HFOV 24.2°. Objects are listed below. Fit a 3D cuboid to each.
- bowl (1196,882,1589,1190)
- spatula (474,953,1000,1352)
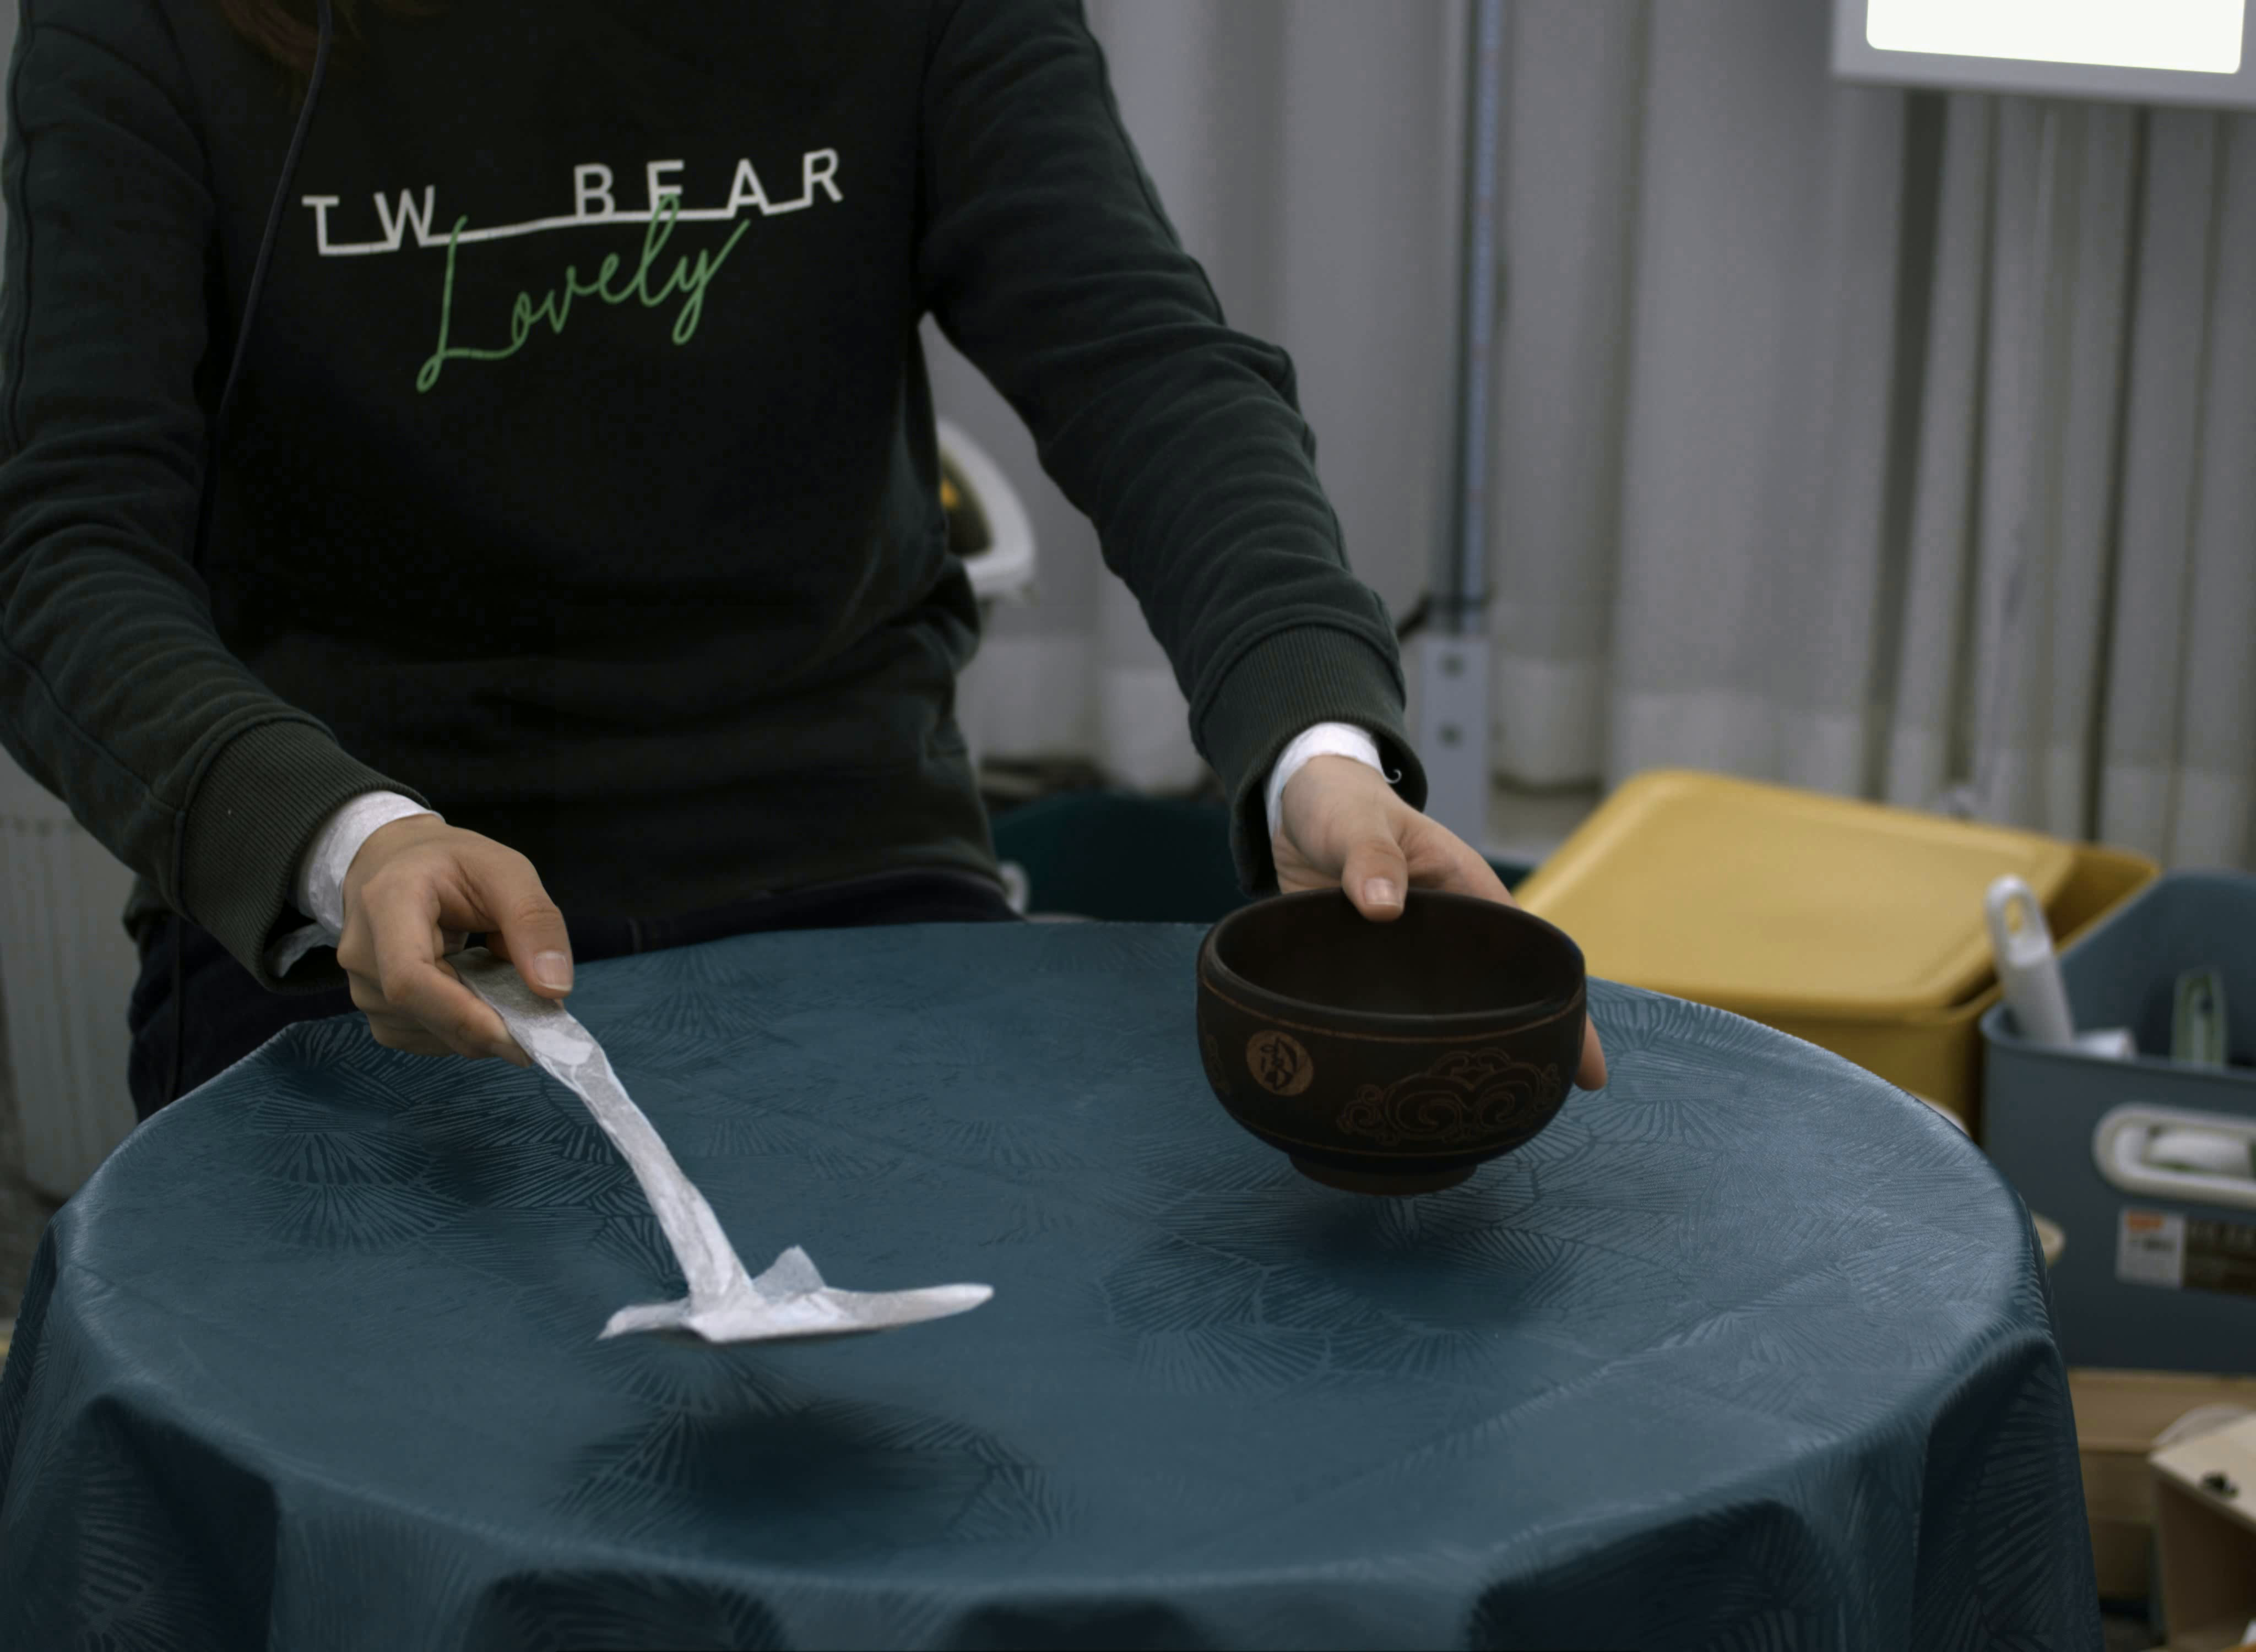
[{"bbox_3d":[0.078,0.067,1.586,0.117,0.070,0.117,3,18,-1],"label":"bowl"},{"bbox_3d":[-0.139,0.086,1.523,0.099,0.045,0.360,-5,22,-21],"label":"spatula"}]
